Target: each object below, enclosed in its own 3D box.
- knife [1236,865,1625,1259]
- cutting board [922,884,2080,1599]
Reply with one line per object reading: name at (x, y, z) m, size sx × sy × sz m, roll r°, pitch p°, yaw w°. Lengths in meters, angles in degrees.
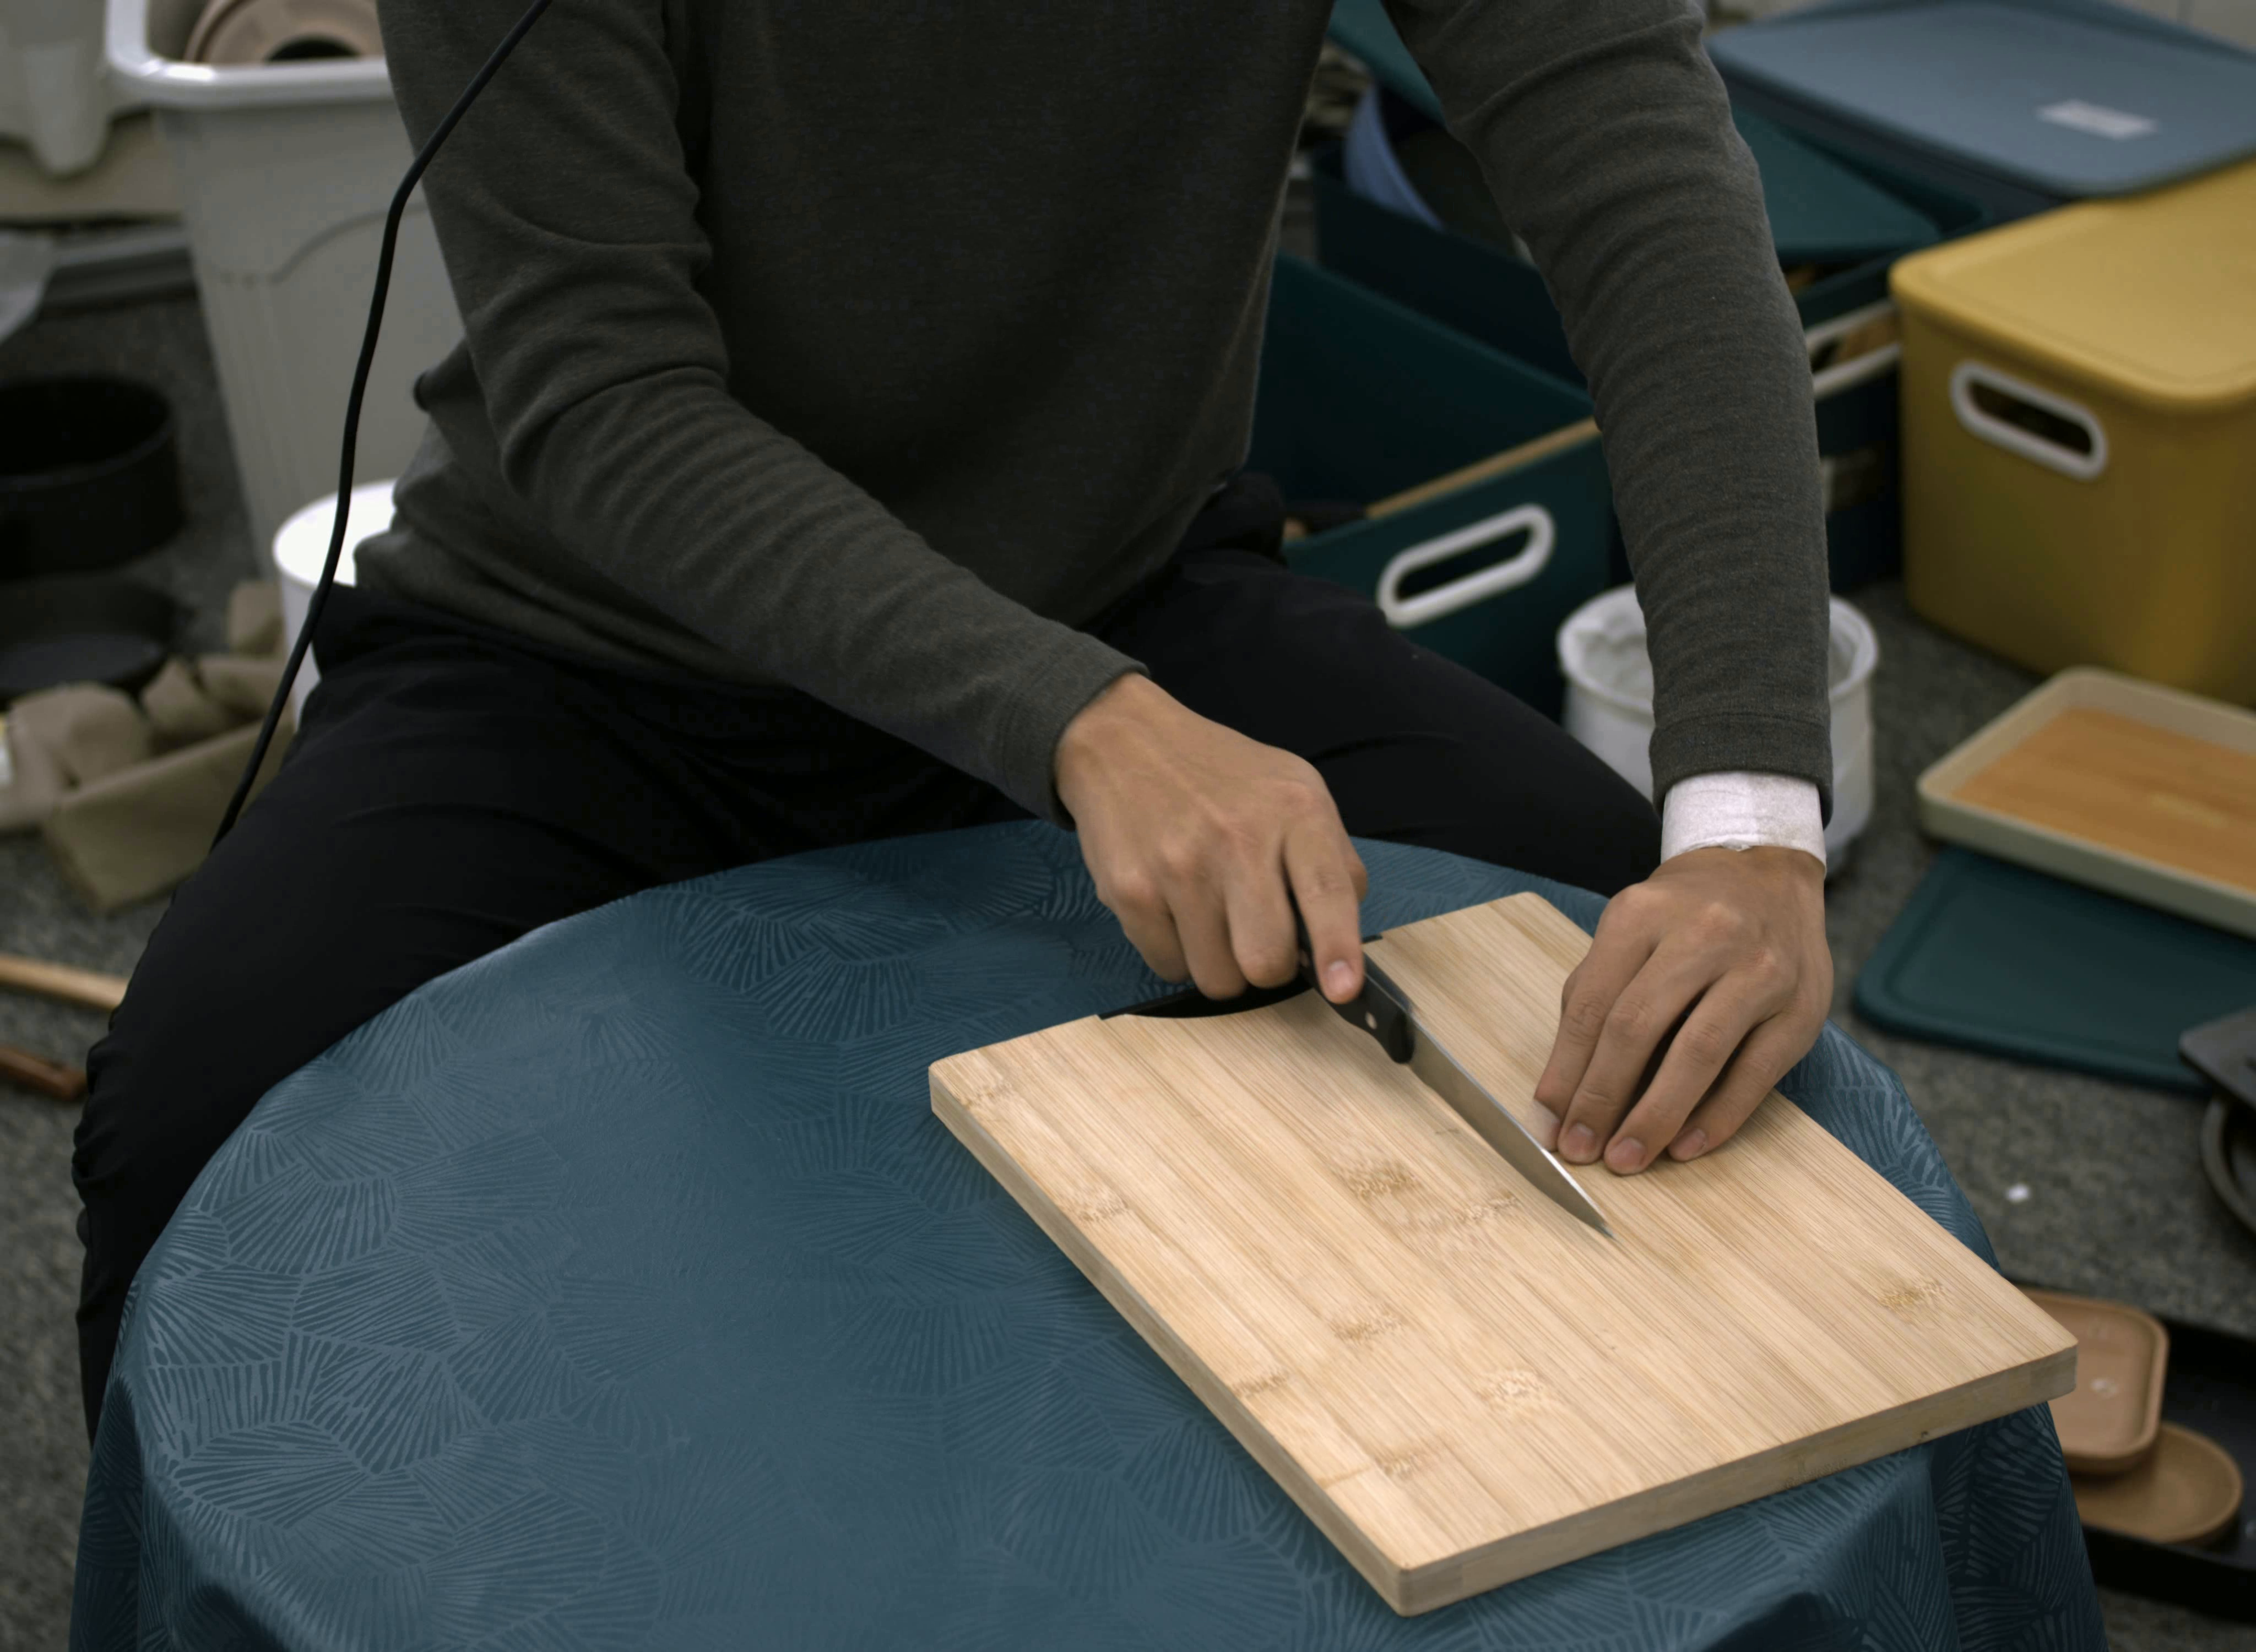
knife at (0.099, 0.075, 1.864) m, size 0.016 × 0.024 × 0.240 m, roll -20°, pitch 39°, yaw -21°
cutting board at (0.111, 0.126, 1.826) m, size 0.252 × 0.023 × 0.350 m, roll -15°, pitch 30°, yaw -23°
